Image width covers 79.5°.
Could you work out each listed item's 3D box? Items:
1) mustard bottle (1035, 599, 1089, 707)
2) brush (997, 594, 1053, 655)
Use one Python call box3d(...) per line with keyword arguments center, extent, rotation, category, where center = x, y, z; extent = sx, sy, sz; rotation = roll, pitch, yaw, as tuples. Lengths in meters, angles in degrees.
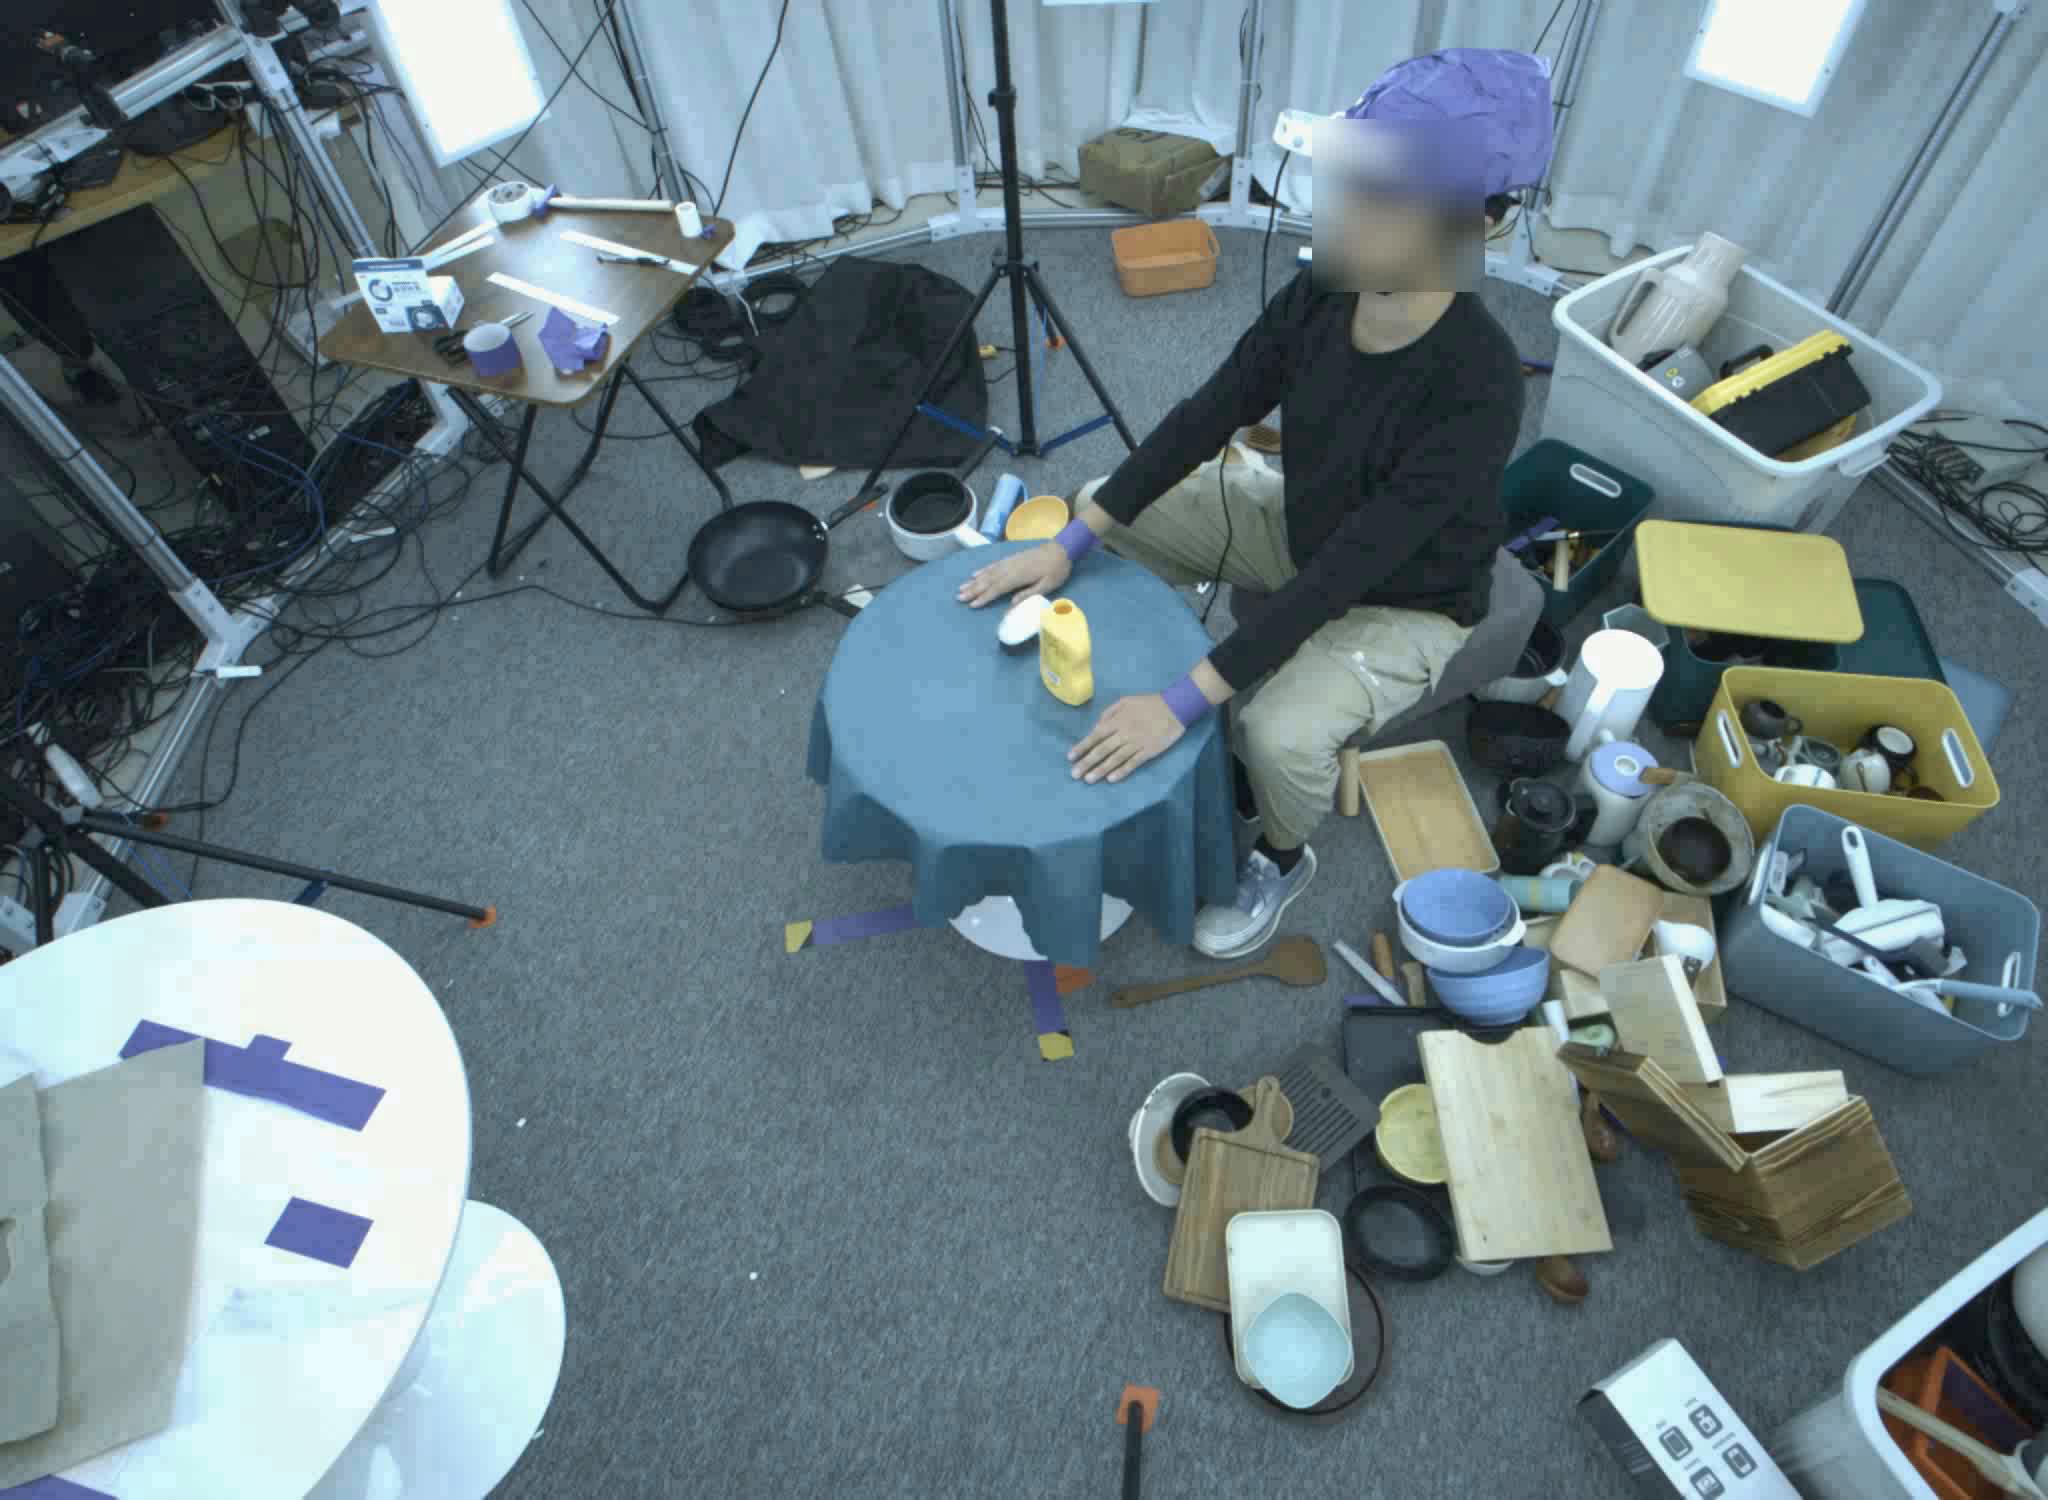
box3d(center=(0.055, -0.148, 1.790), extent=(0.060, 0.173, 0.096), rotation=(-35, 58, -25), category="mustard bottle")
box3d(center=(0.001, -0.201, 1.886), extent=(0.100, 0.073, 0.049), rotation=(-36, 61, -19), category="brush")
